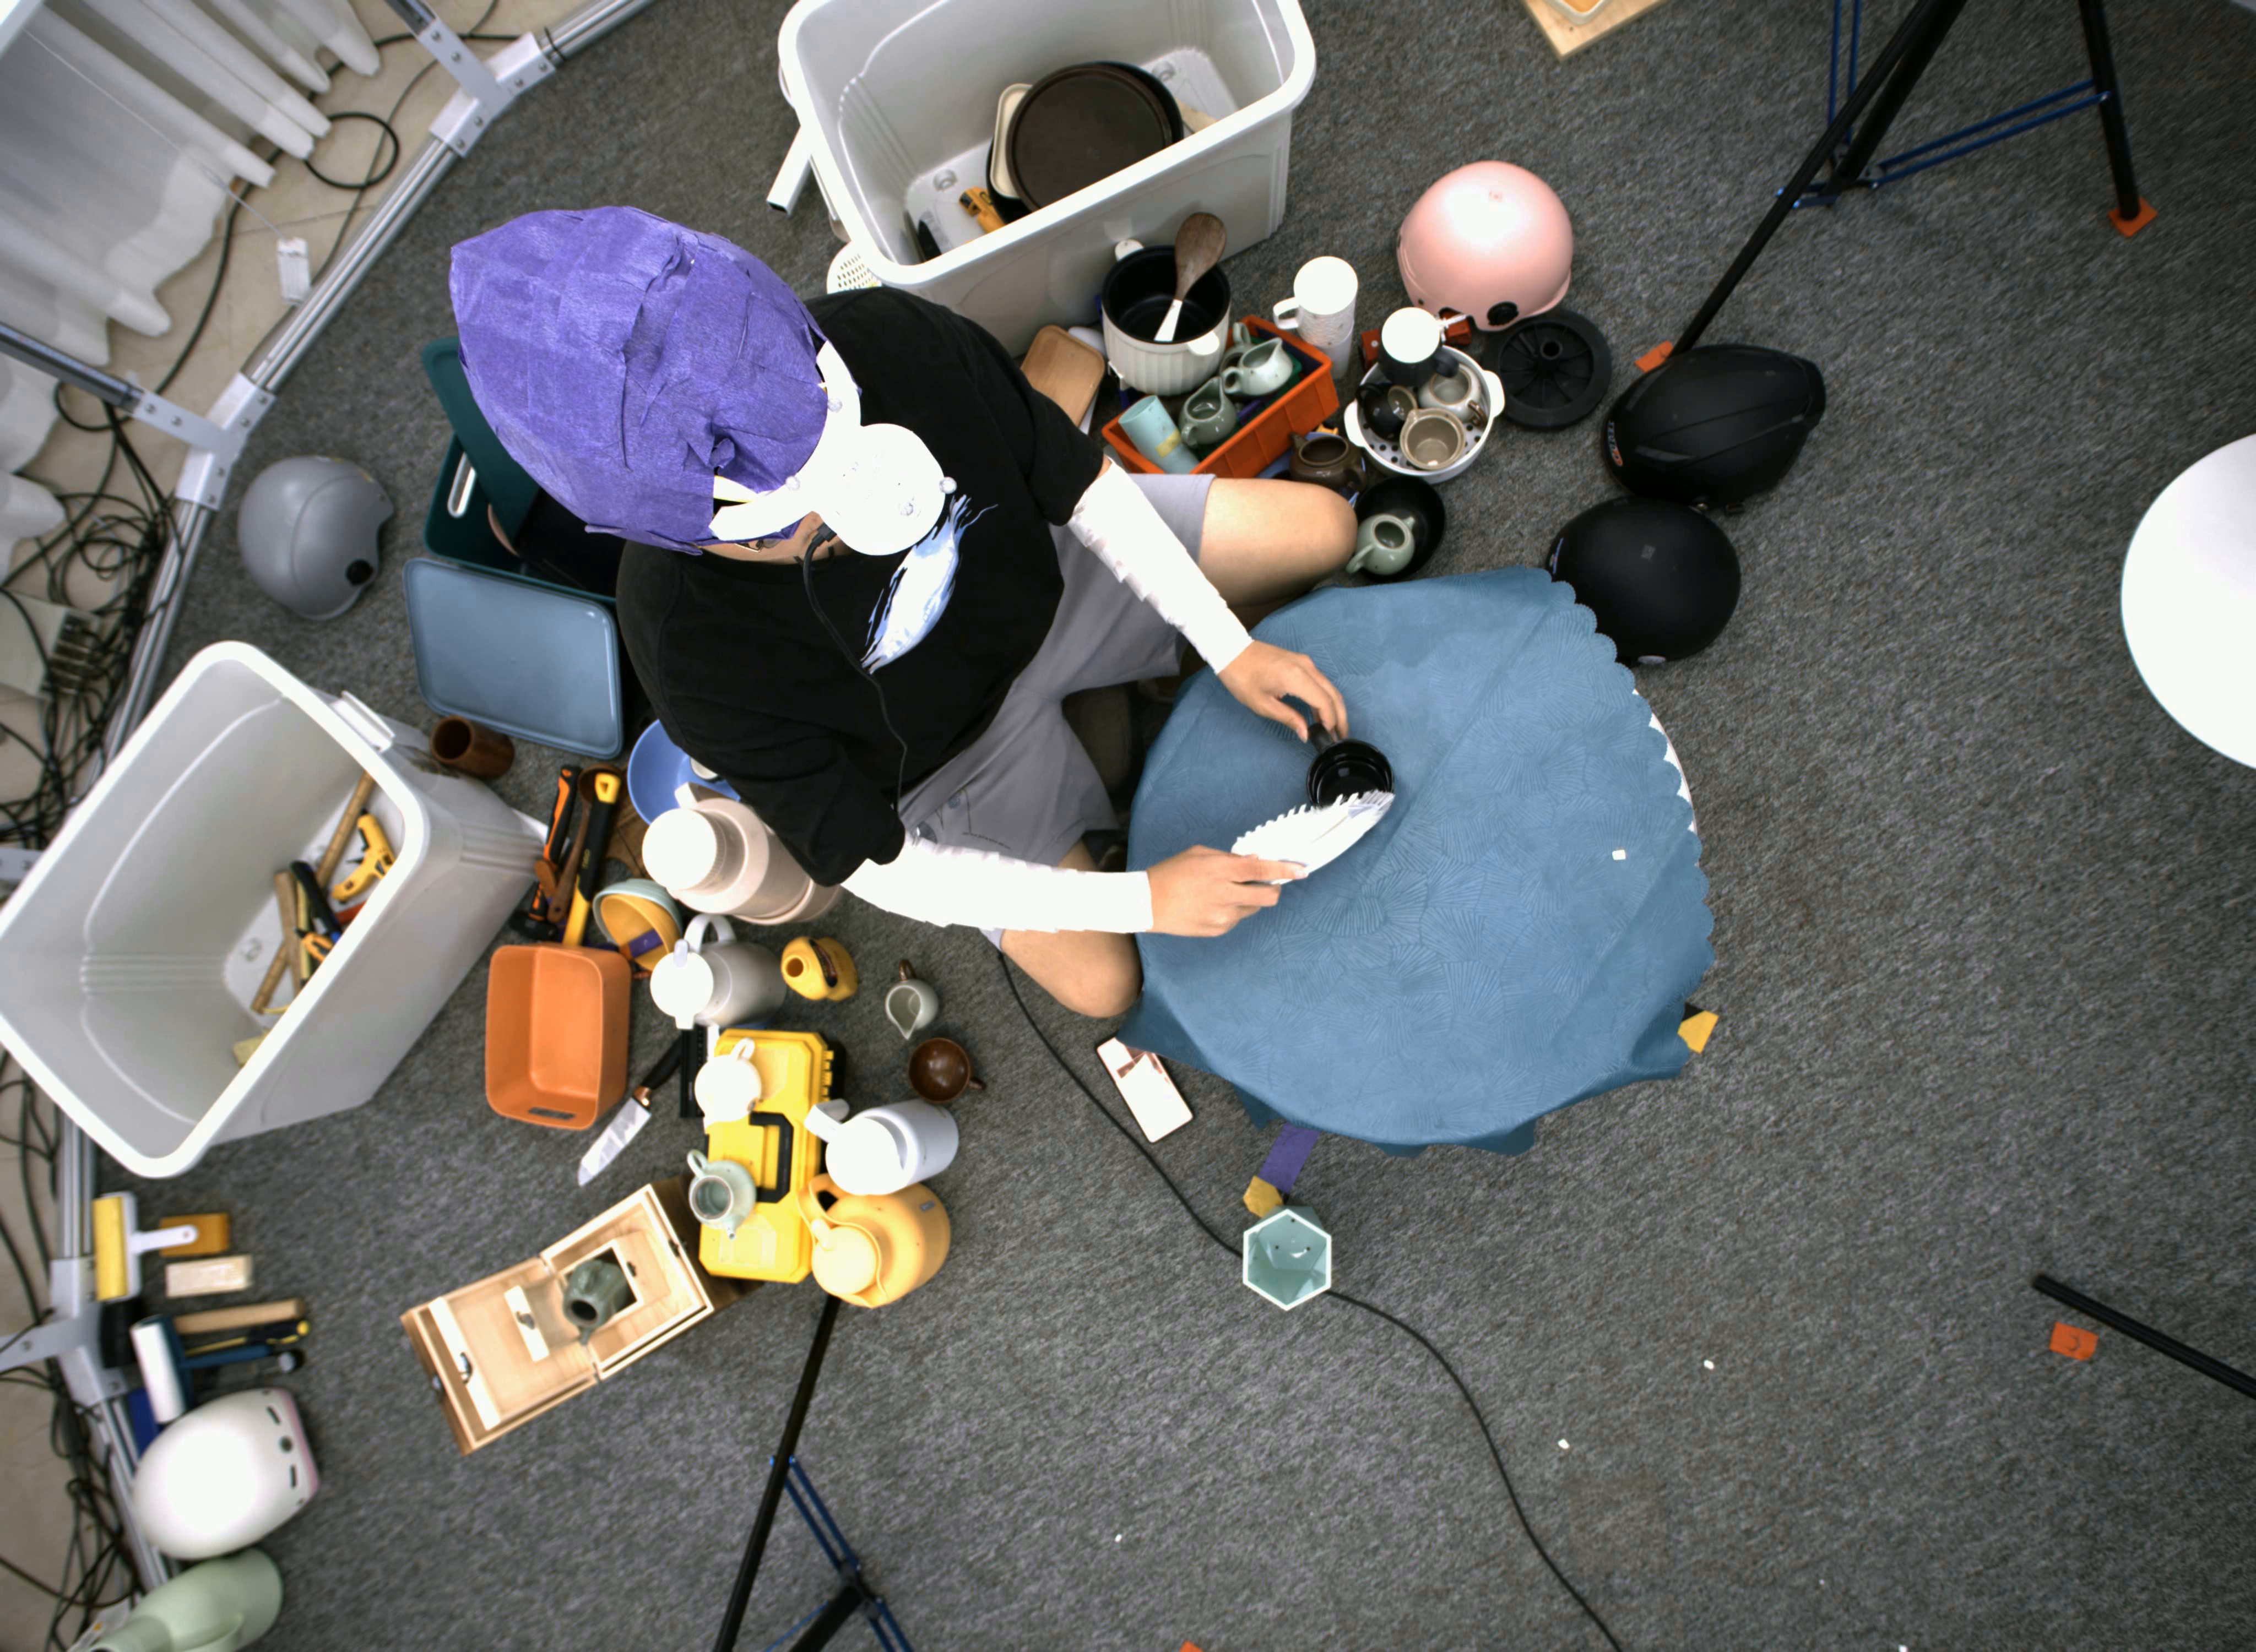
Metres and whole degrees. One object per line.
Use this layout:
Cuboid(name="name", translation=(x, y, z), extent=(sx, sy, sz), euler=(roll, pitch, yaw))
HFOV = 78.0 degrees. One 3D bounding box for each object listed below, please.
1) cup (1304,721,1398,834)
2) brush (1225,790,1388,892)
Cuboid(name="cup", translation=(0.223, -0.054, 1.423), extent=(0.089, 0.105, 0.123), euler=(-30, 80, 12))
Cuboid(name="brush", translation=(0.171, 0.016, 1.354), extent=(0.178, 0.092, 0.062), euler=(-24, 107, 31))
